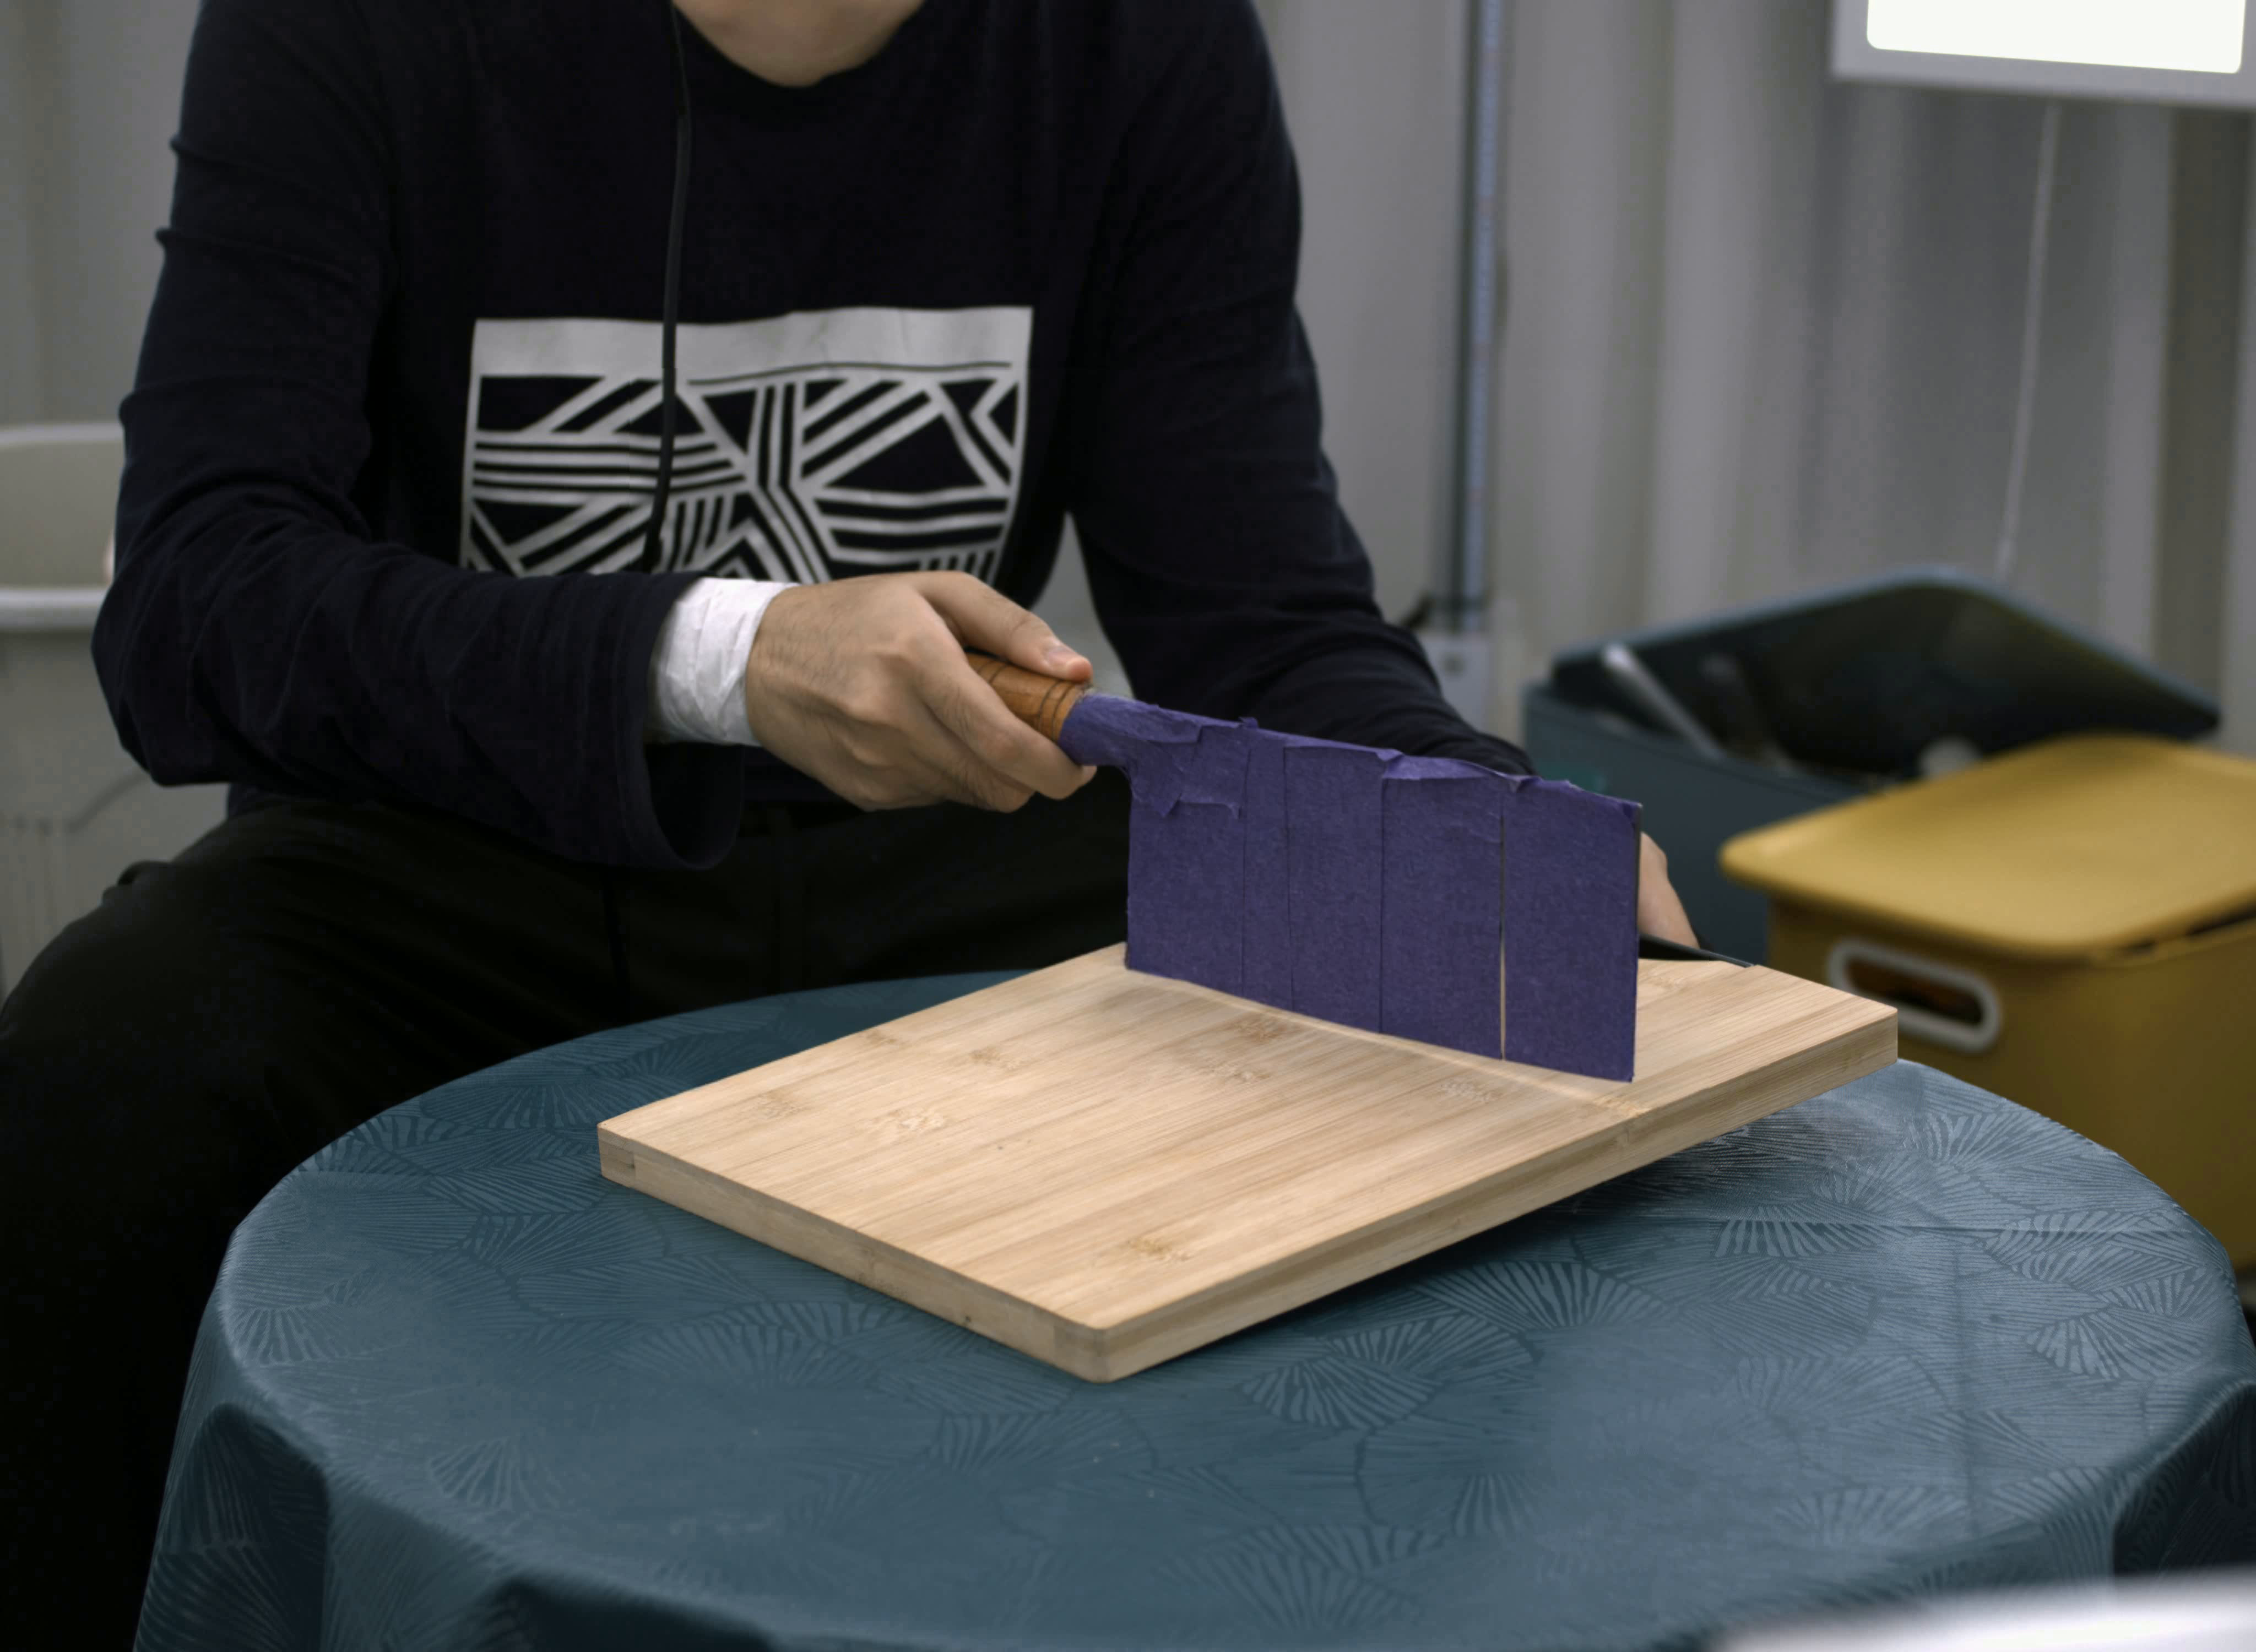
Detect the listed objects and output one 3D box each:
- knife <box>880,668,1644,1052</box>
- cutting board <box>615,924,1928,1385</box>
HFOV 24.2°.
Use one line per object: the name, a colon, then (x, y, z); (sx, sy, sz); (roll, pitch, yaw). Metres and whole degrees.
knife: (0.037, 0.011, 1.684); (0.311, 0.104, 0.032); (11, 13, 42)
cutting board: (0.045, 0.083, 1.655); (0.350, 0.024, 0.247); (-18, 23, -39)
